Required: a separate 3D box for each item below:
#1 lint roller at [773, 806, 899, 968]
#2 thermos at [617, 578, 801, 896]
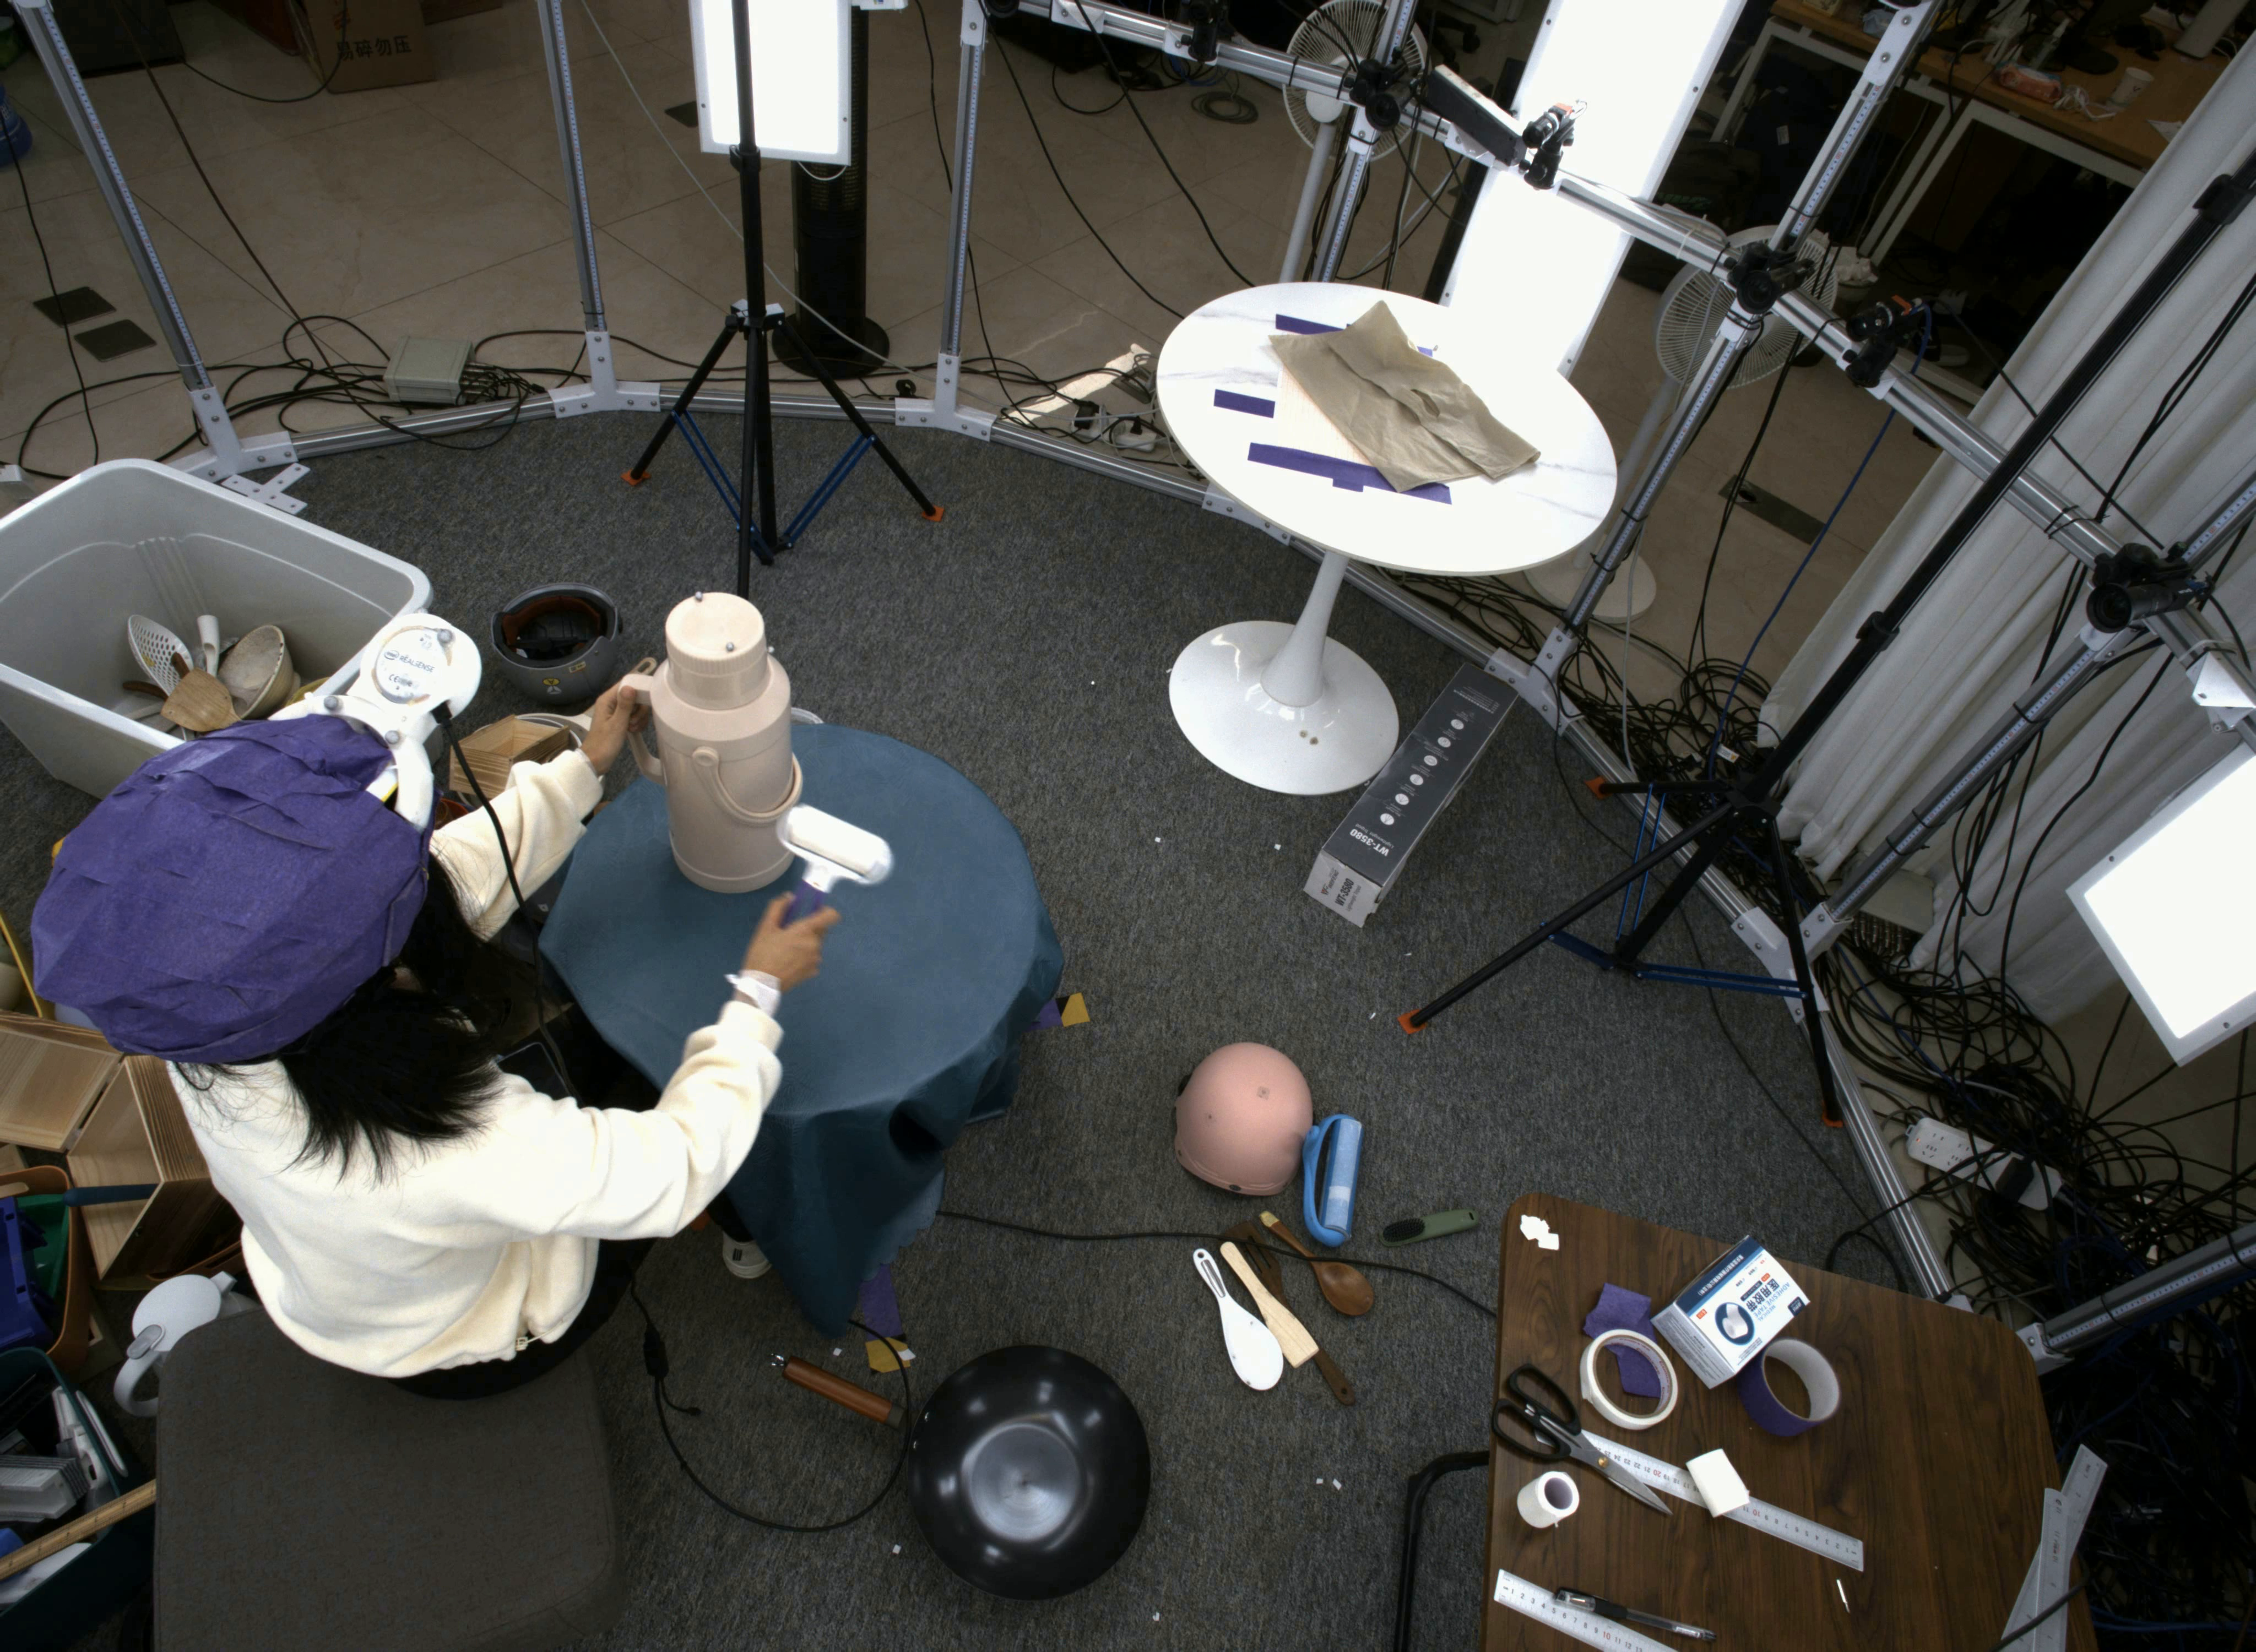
[{"bbox_3d":[-0.351,0.071,1.452,0.132,0.051,0.180,27,67,2],"label":"lint roller"},{"bbox_3d":[-0.493,-0.103,1.521,0.206,0.415,0.172,6,52,-7],"label":"thermos"}]
